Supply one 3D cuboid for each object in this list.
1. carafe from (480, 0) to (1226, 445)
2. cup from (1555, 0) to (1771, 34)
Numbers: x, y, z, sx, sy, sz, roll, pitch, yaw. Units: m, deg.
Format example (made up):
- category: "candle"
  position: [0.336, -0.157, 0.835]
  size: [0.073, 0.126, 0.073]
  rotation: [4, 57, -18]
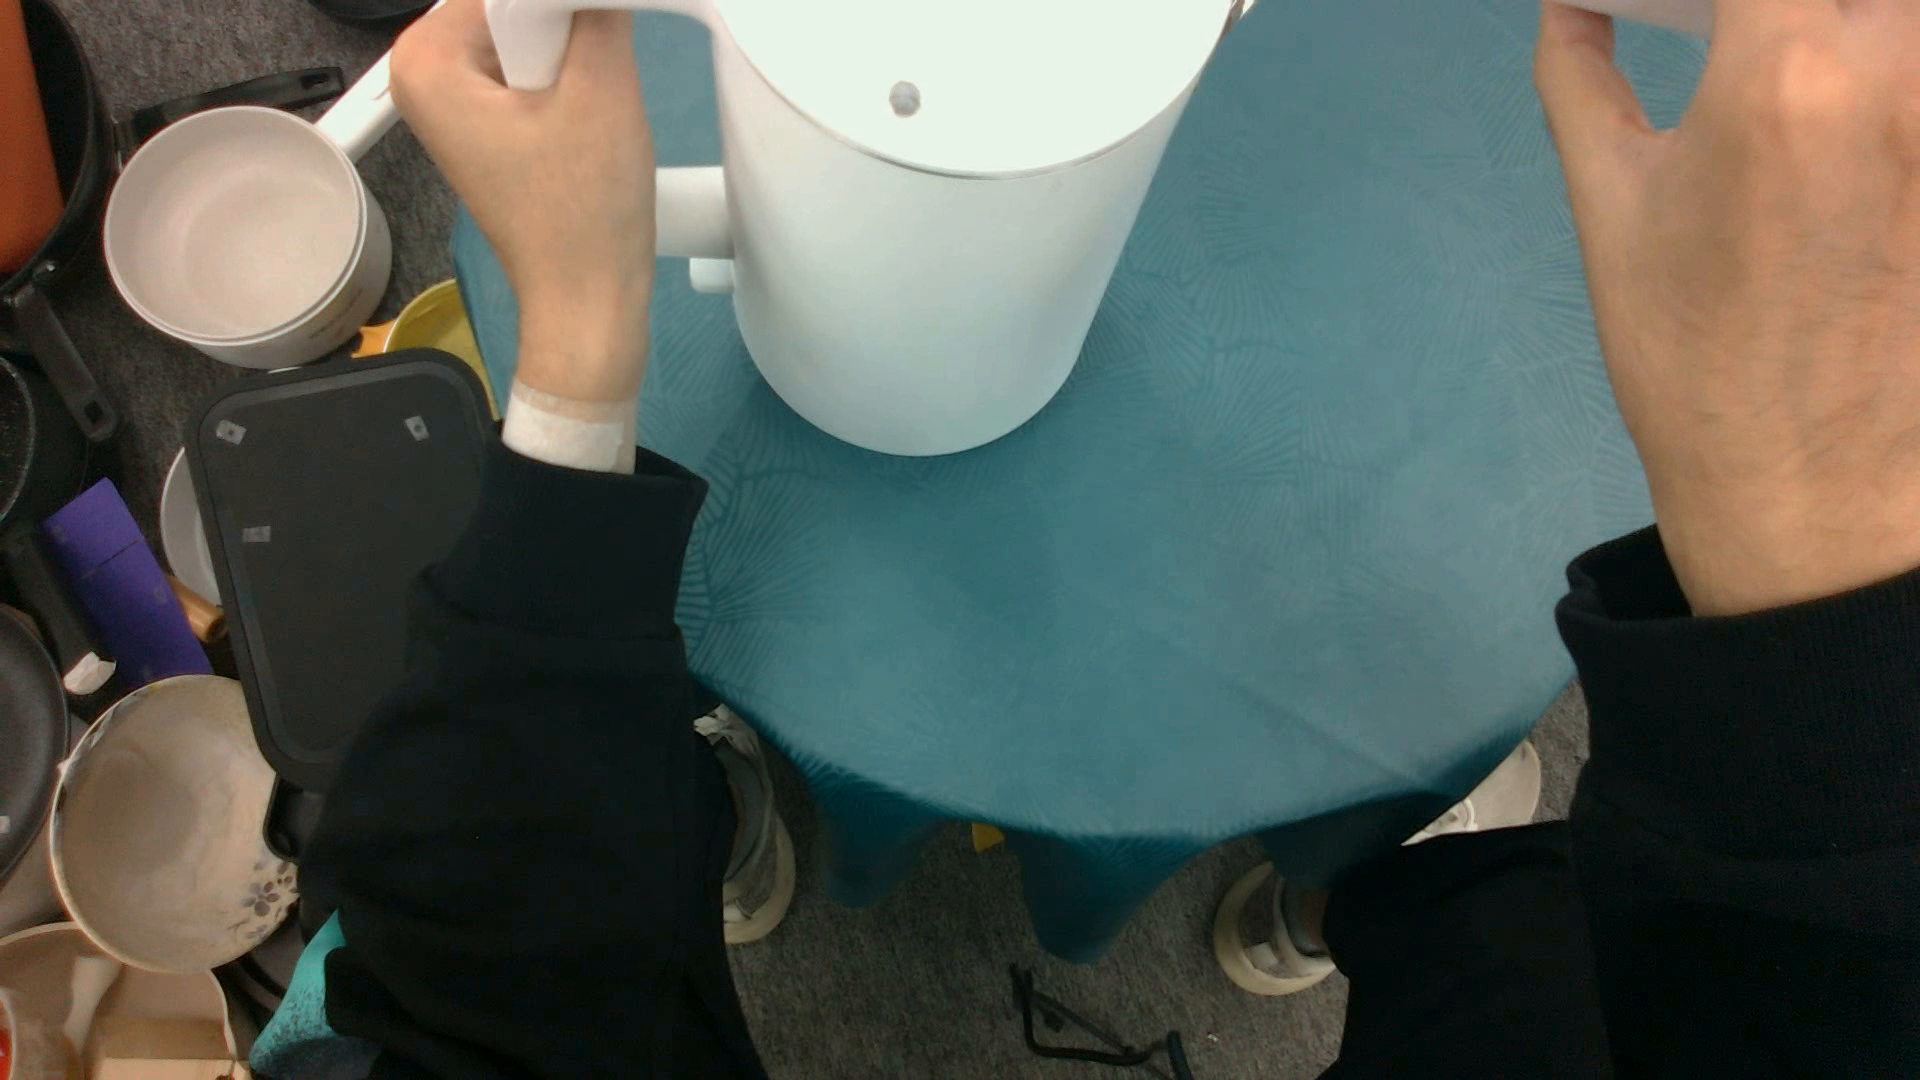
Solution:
- category: "carafe"
  position: [-0.039, -0.140, 0.472]
  size: [0.213, 0.239, 0.152]
  rotation: [-1, 75, -8]
- category: "cup"
  position: [0.123, -0.162, 0.298]
  size: [0.125, 0.081, 0.082]
  rotation: [12, 77, -7]
